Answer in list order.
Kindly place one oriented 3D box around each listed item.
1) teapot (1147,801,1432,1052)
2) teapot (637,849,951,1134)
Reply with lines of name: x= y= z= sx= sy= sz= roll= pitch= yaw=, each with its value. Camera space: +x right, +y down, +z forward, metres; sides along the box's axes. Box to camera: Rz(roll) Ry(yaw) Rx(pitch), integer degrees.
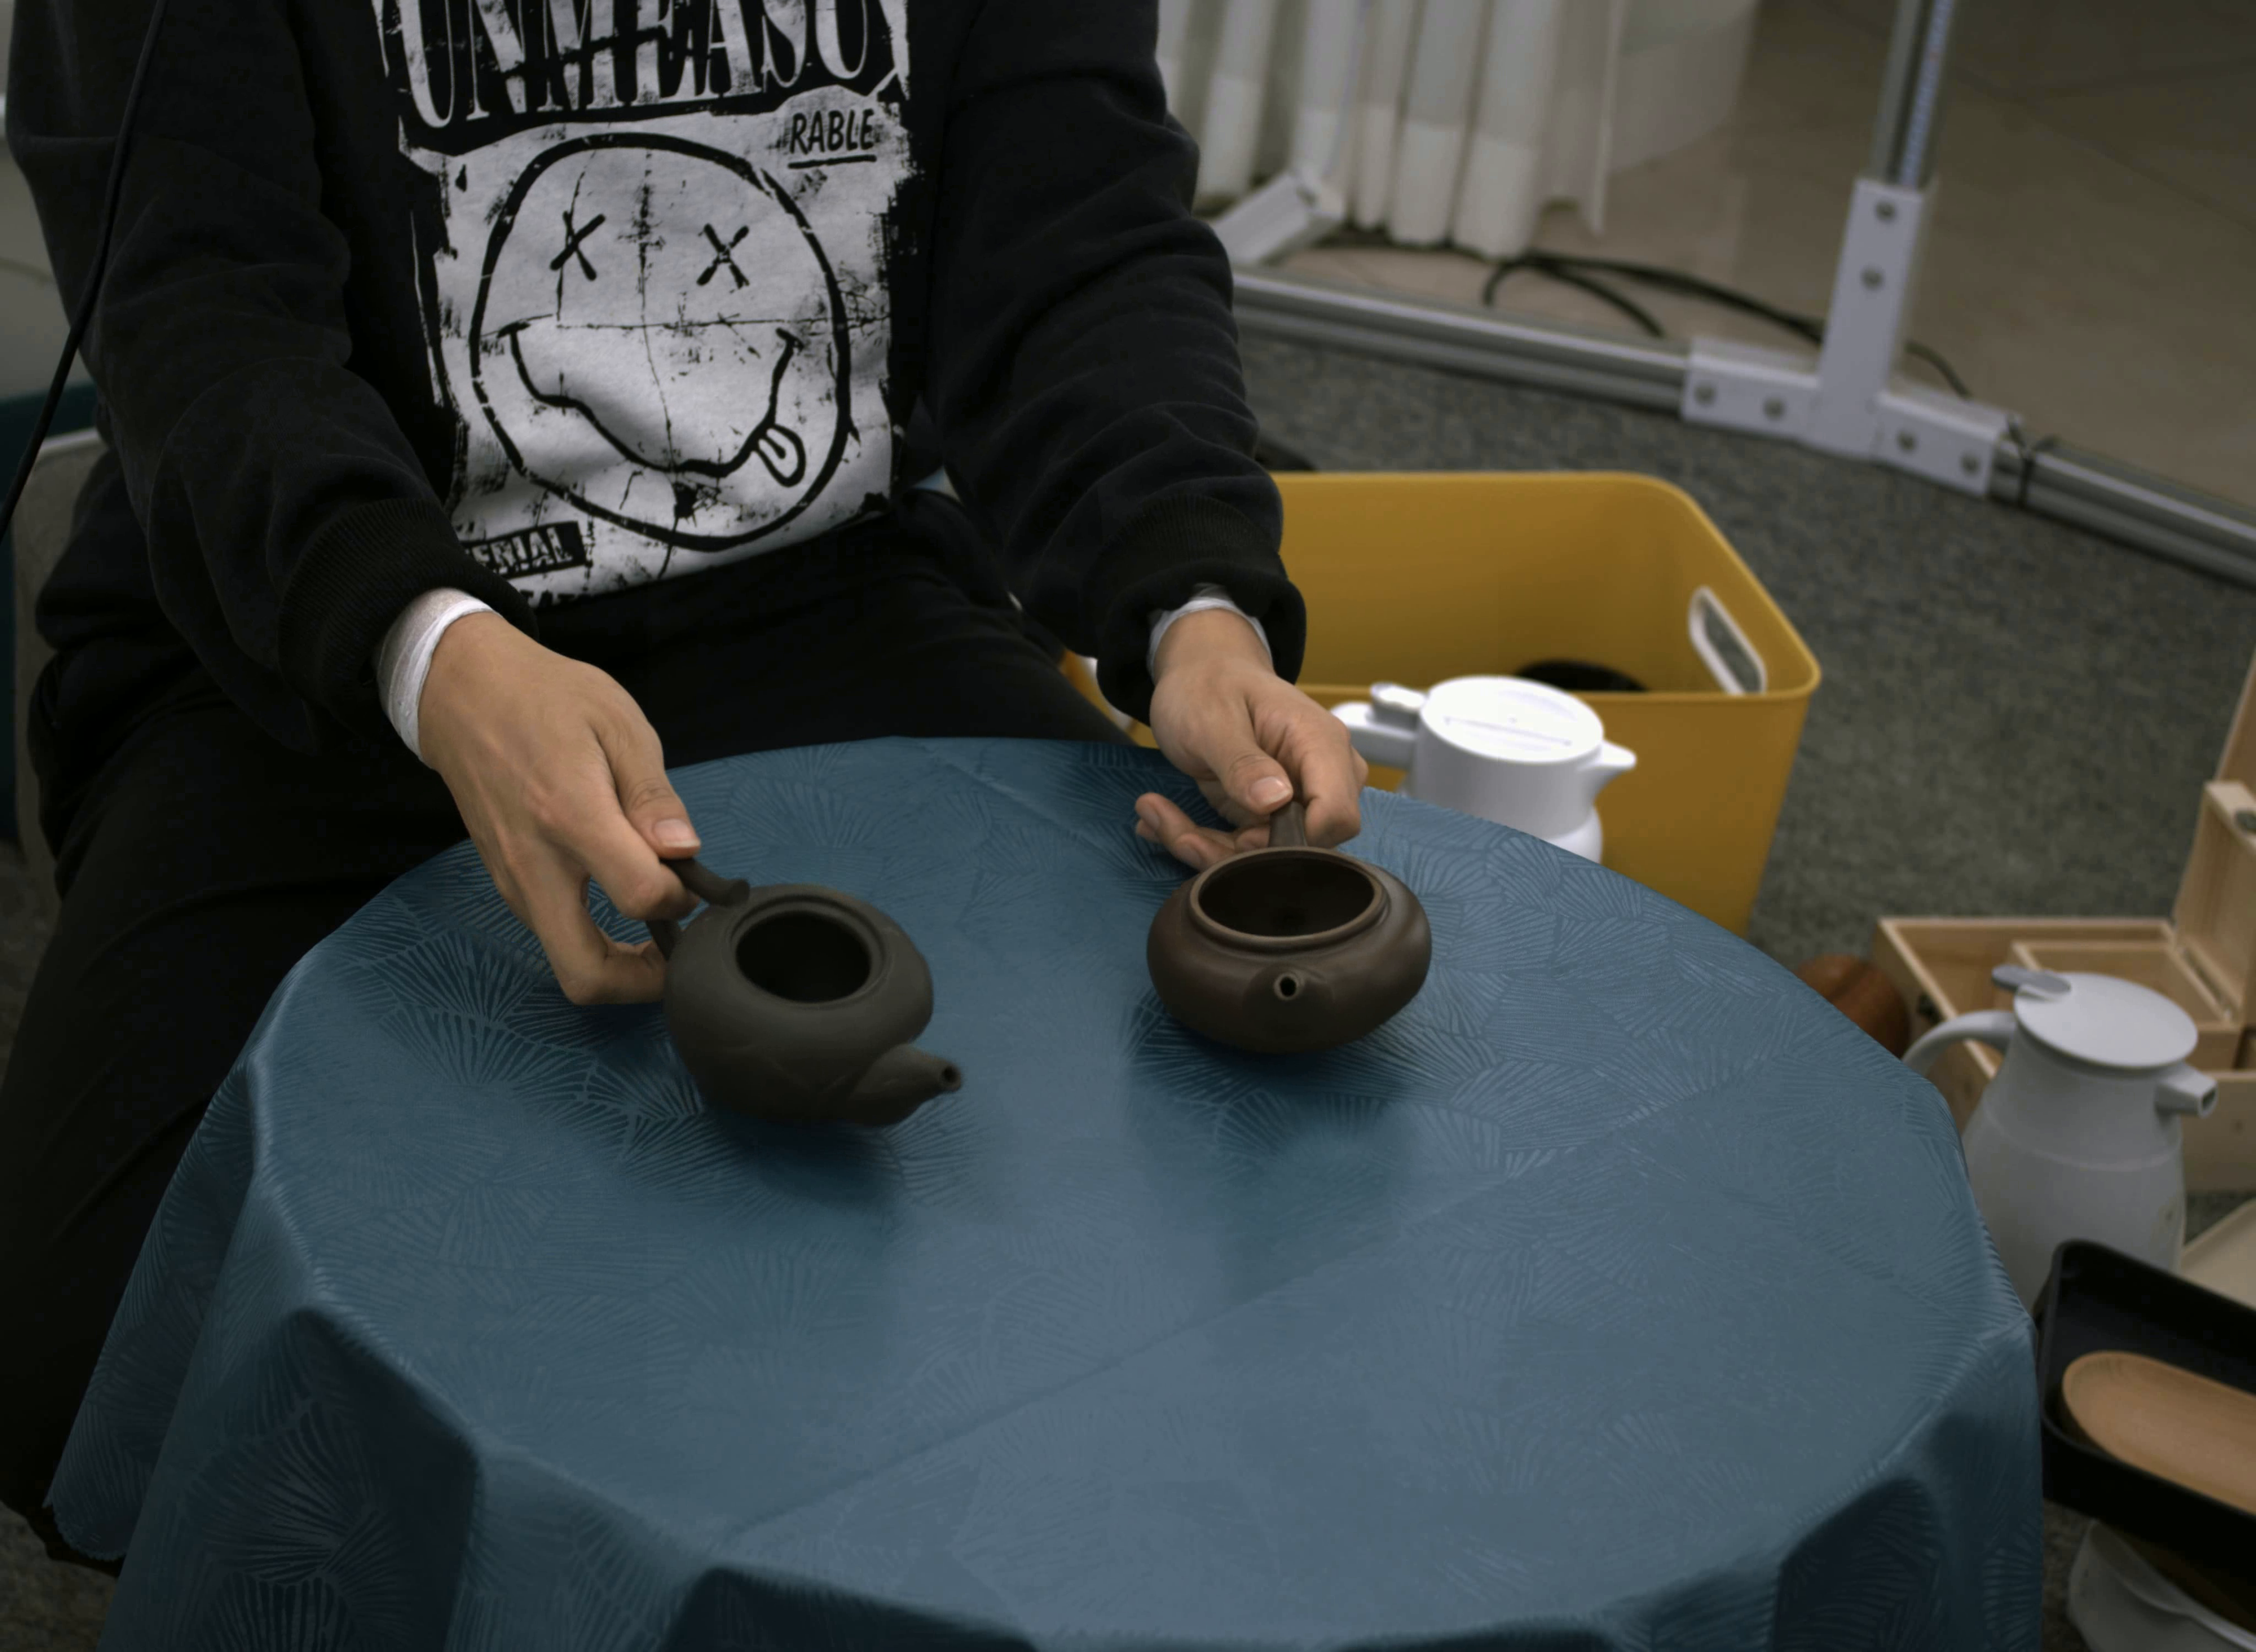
teapot: x=0.057 y=0.040 z=1.913 sx=0.102 sy=0.053 sz=0.154 roll=-3 pitch=29 yaw=-3
teapot: x=-0.117 y=0.061 z=1.815 sx=0.092 sy=0.064 sz=0.155 roll=-25 pitch=51 yaw=-39
